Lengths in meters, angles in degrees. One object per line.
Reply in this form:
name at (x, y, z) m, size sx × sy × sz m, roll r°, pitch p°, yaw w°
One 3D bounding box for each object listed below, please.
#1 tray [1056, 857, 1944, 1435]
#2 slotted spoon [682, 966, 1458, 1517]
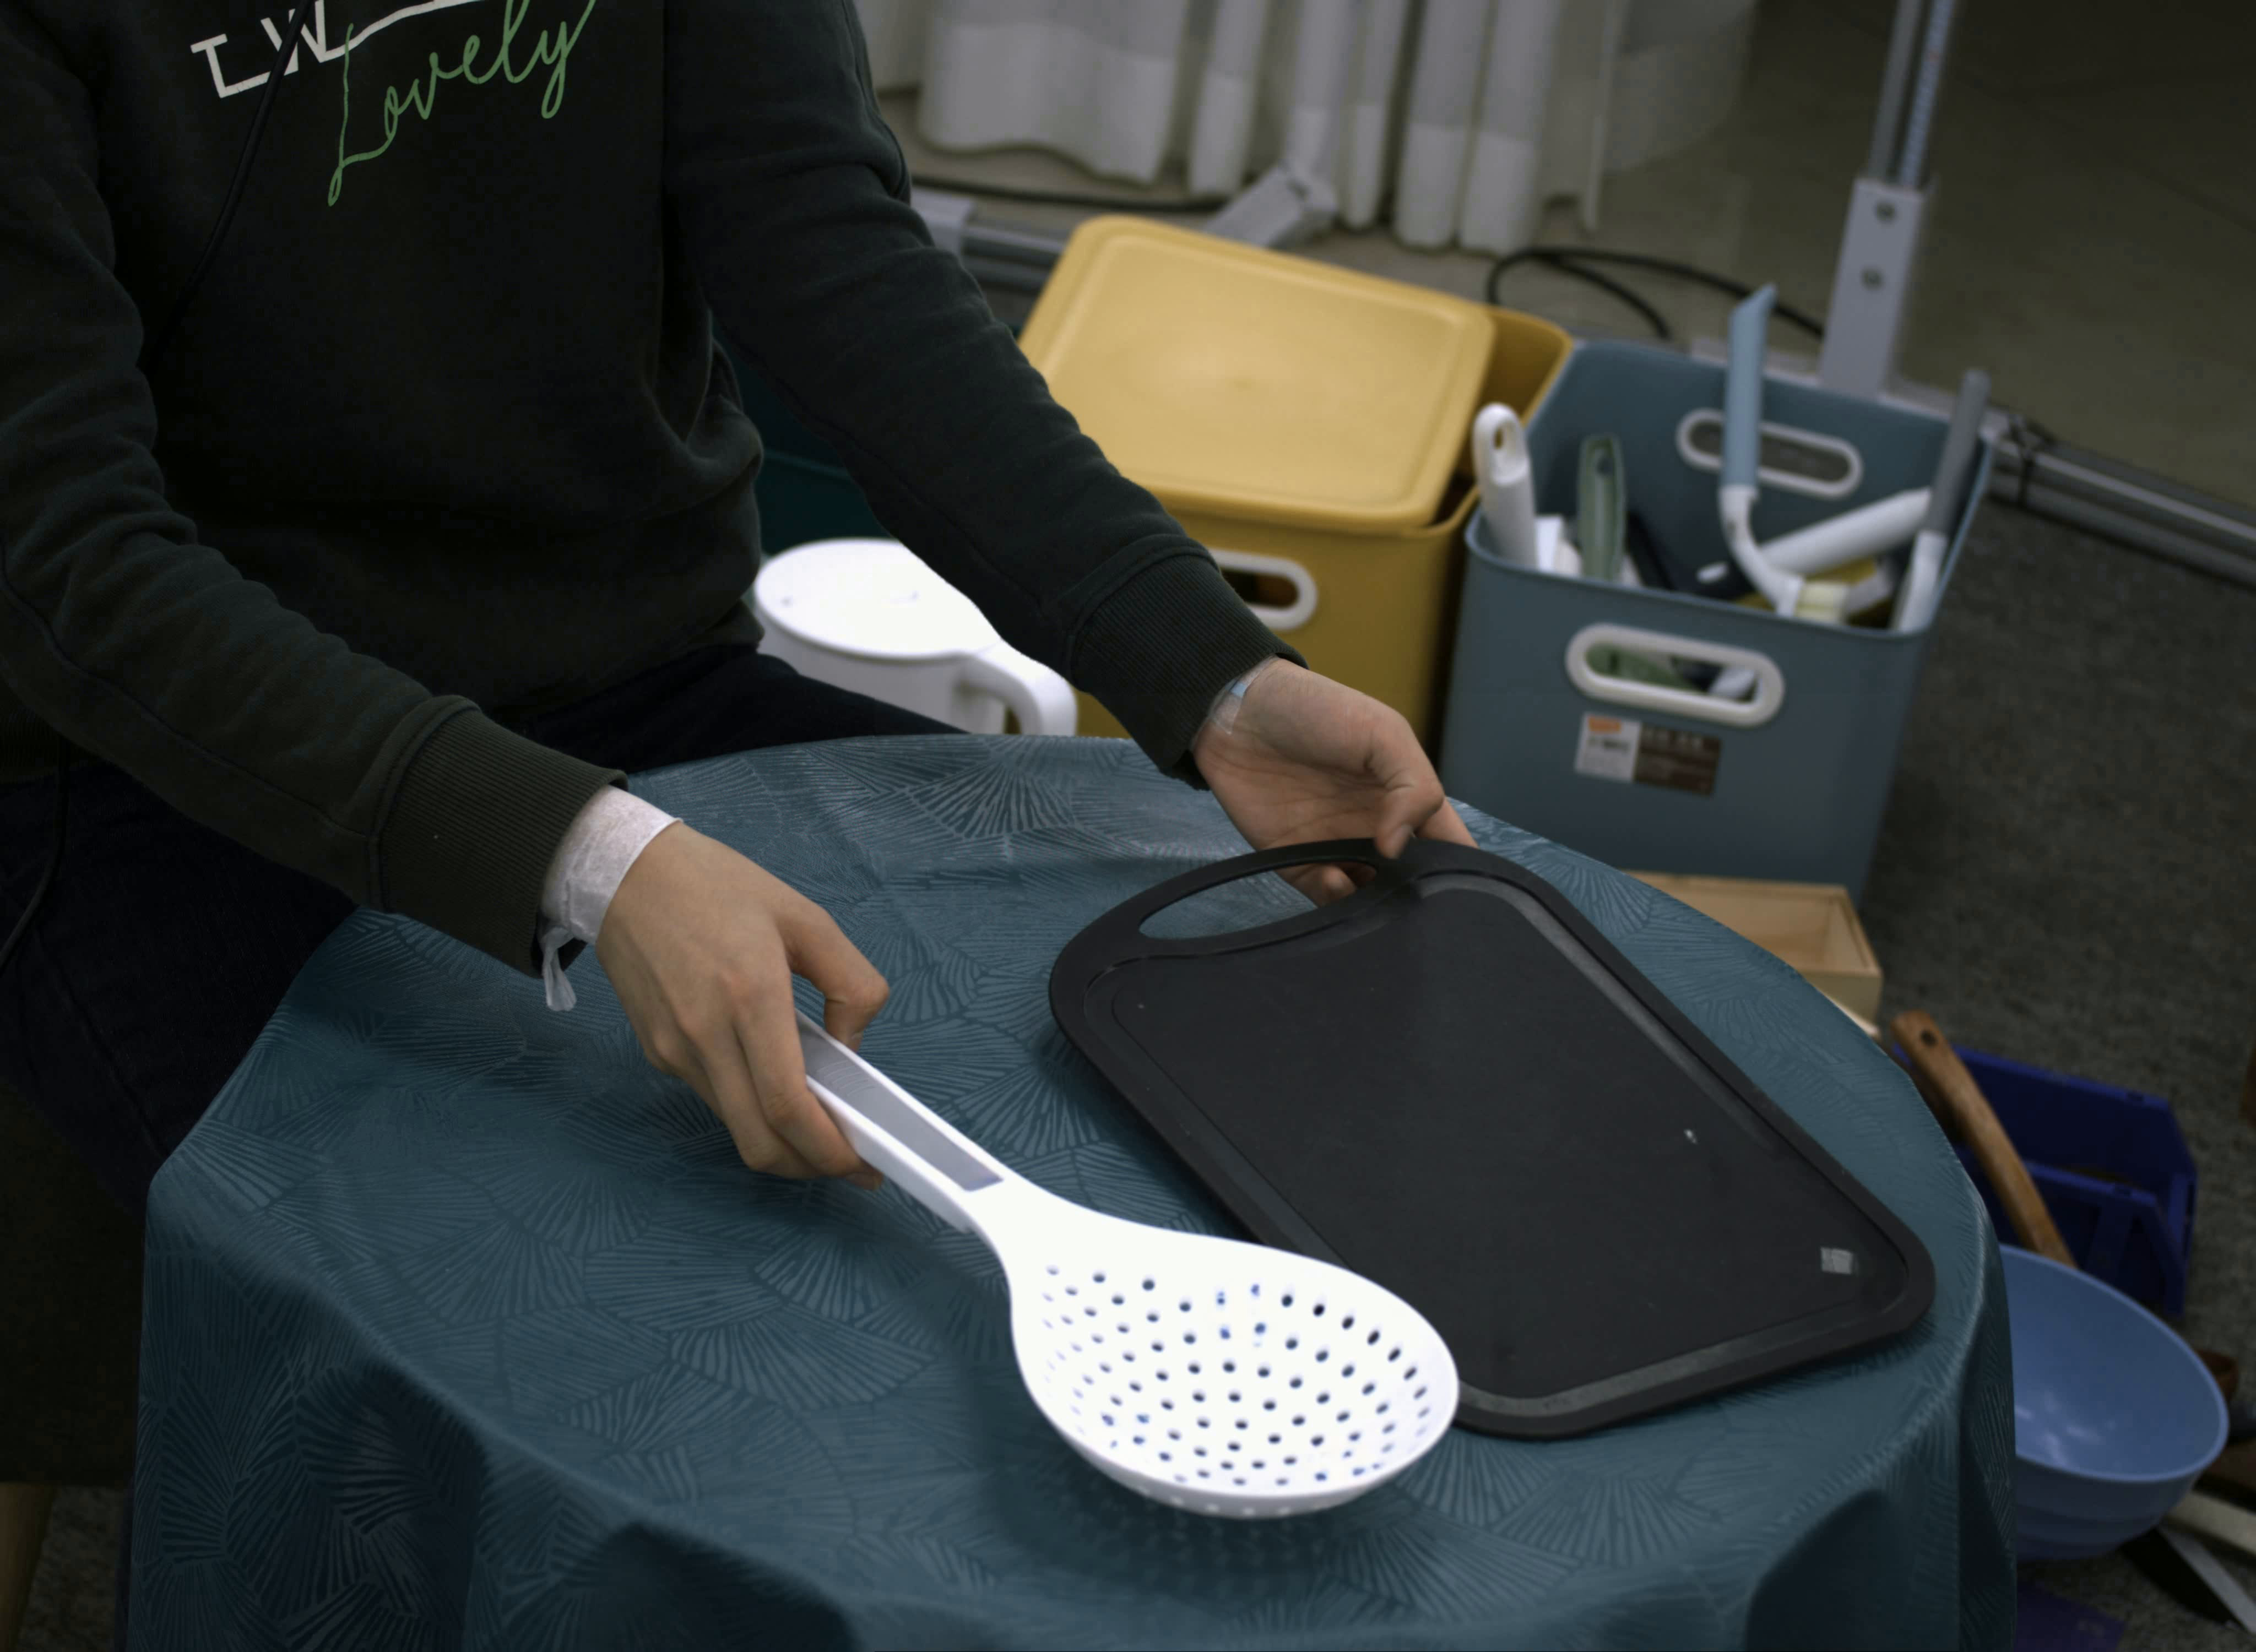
tray at (0.119, 0.099, 1.834) m, size 0.210 × 0.010 × 0.328 m, roll -13°, pitch 37°, yaw -28°
slotted spoon at (-0.035, 0.128, 1.711) m, size 0.135 × 0.045 × 0.353 m, roll -15°, pitch 39°, yaw -37°
